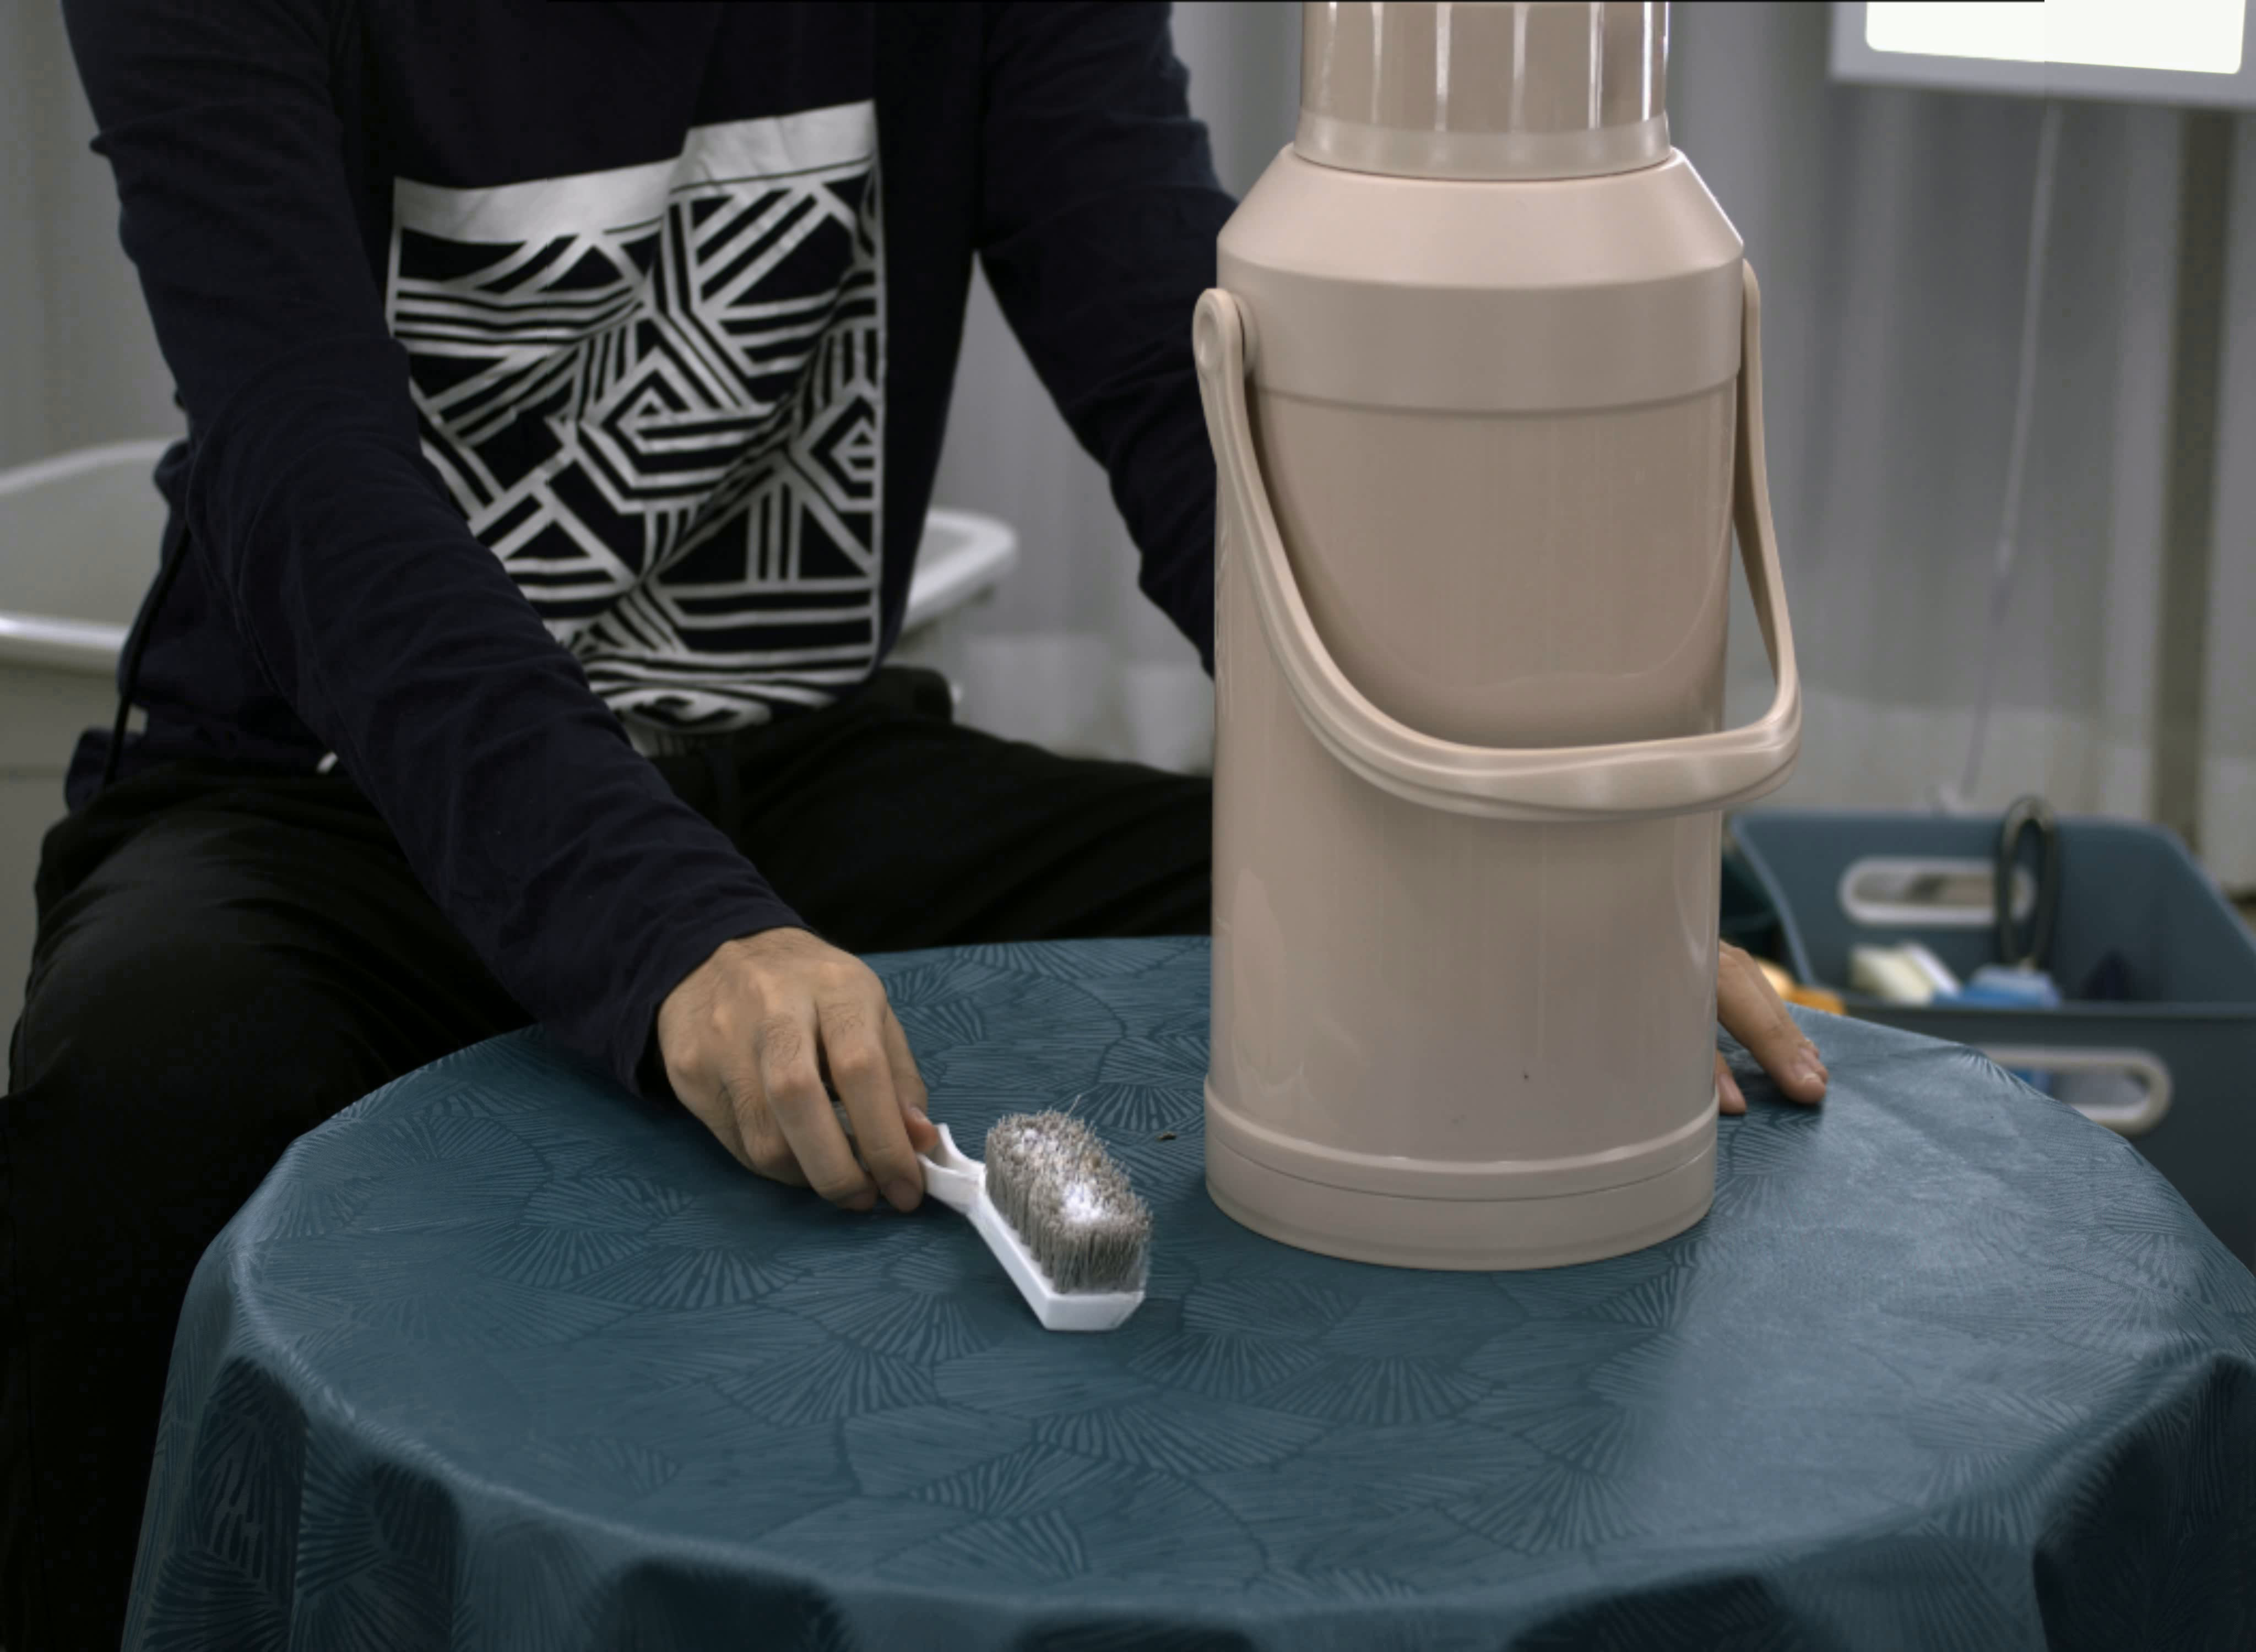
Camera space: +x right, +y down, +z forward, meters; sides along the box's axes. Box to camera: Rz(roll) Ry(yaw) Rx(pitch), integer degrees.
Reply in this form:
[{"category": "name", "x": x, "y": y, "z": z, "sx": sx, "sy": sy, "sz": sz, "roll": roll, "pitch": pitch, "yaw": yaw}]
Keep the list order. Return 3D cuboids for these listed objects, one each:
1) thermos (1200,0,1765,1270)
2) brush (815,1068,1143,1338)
[{"category": "thermos", "x": 0.102, "y": -0.084, "z": 1.591, "sx": 0.176, "sy": 0.410, "sz": 0.204, "roll": -8, "pitch": 18, "yaw": -22}, {"category": "brush", "x": -0.051, "y": 0.094, "z": 1.598, "sx": 0.034, "sy": 0.051, "sz": 0.241, "roll": -13, "pitch": 19, "yaw": -18}]
